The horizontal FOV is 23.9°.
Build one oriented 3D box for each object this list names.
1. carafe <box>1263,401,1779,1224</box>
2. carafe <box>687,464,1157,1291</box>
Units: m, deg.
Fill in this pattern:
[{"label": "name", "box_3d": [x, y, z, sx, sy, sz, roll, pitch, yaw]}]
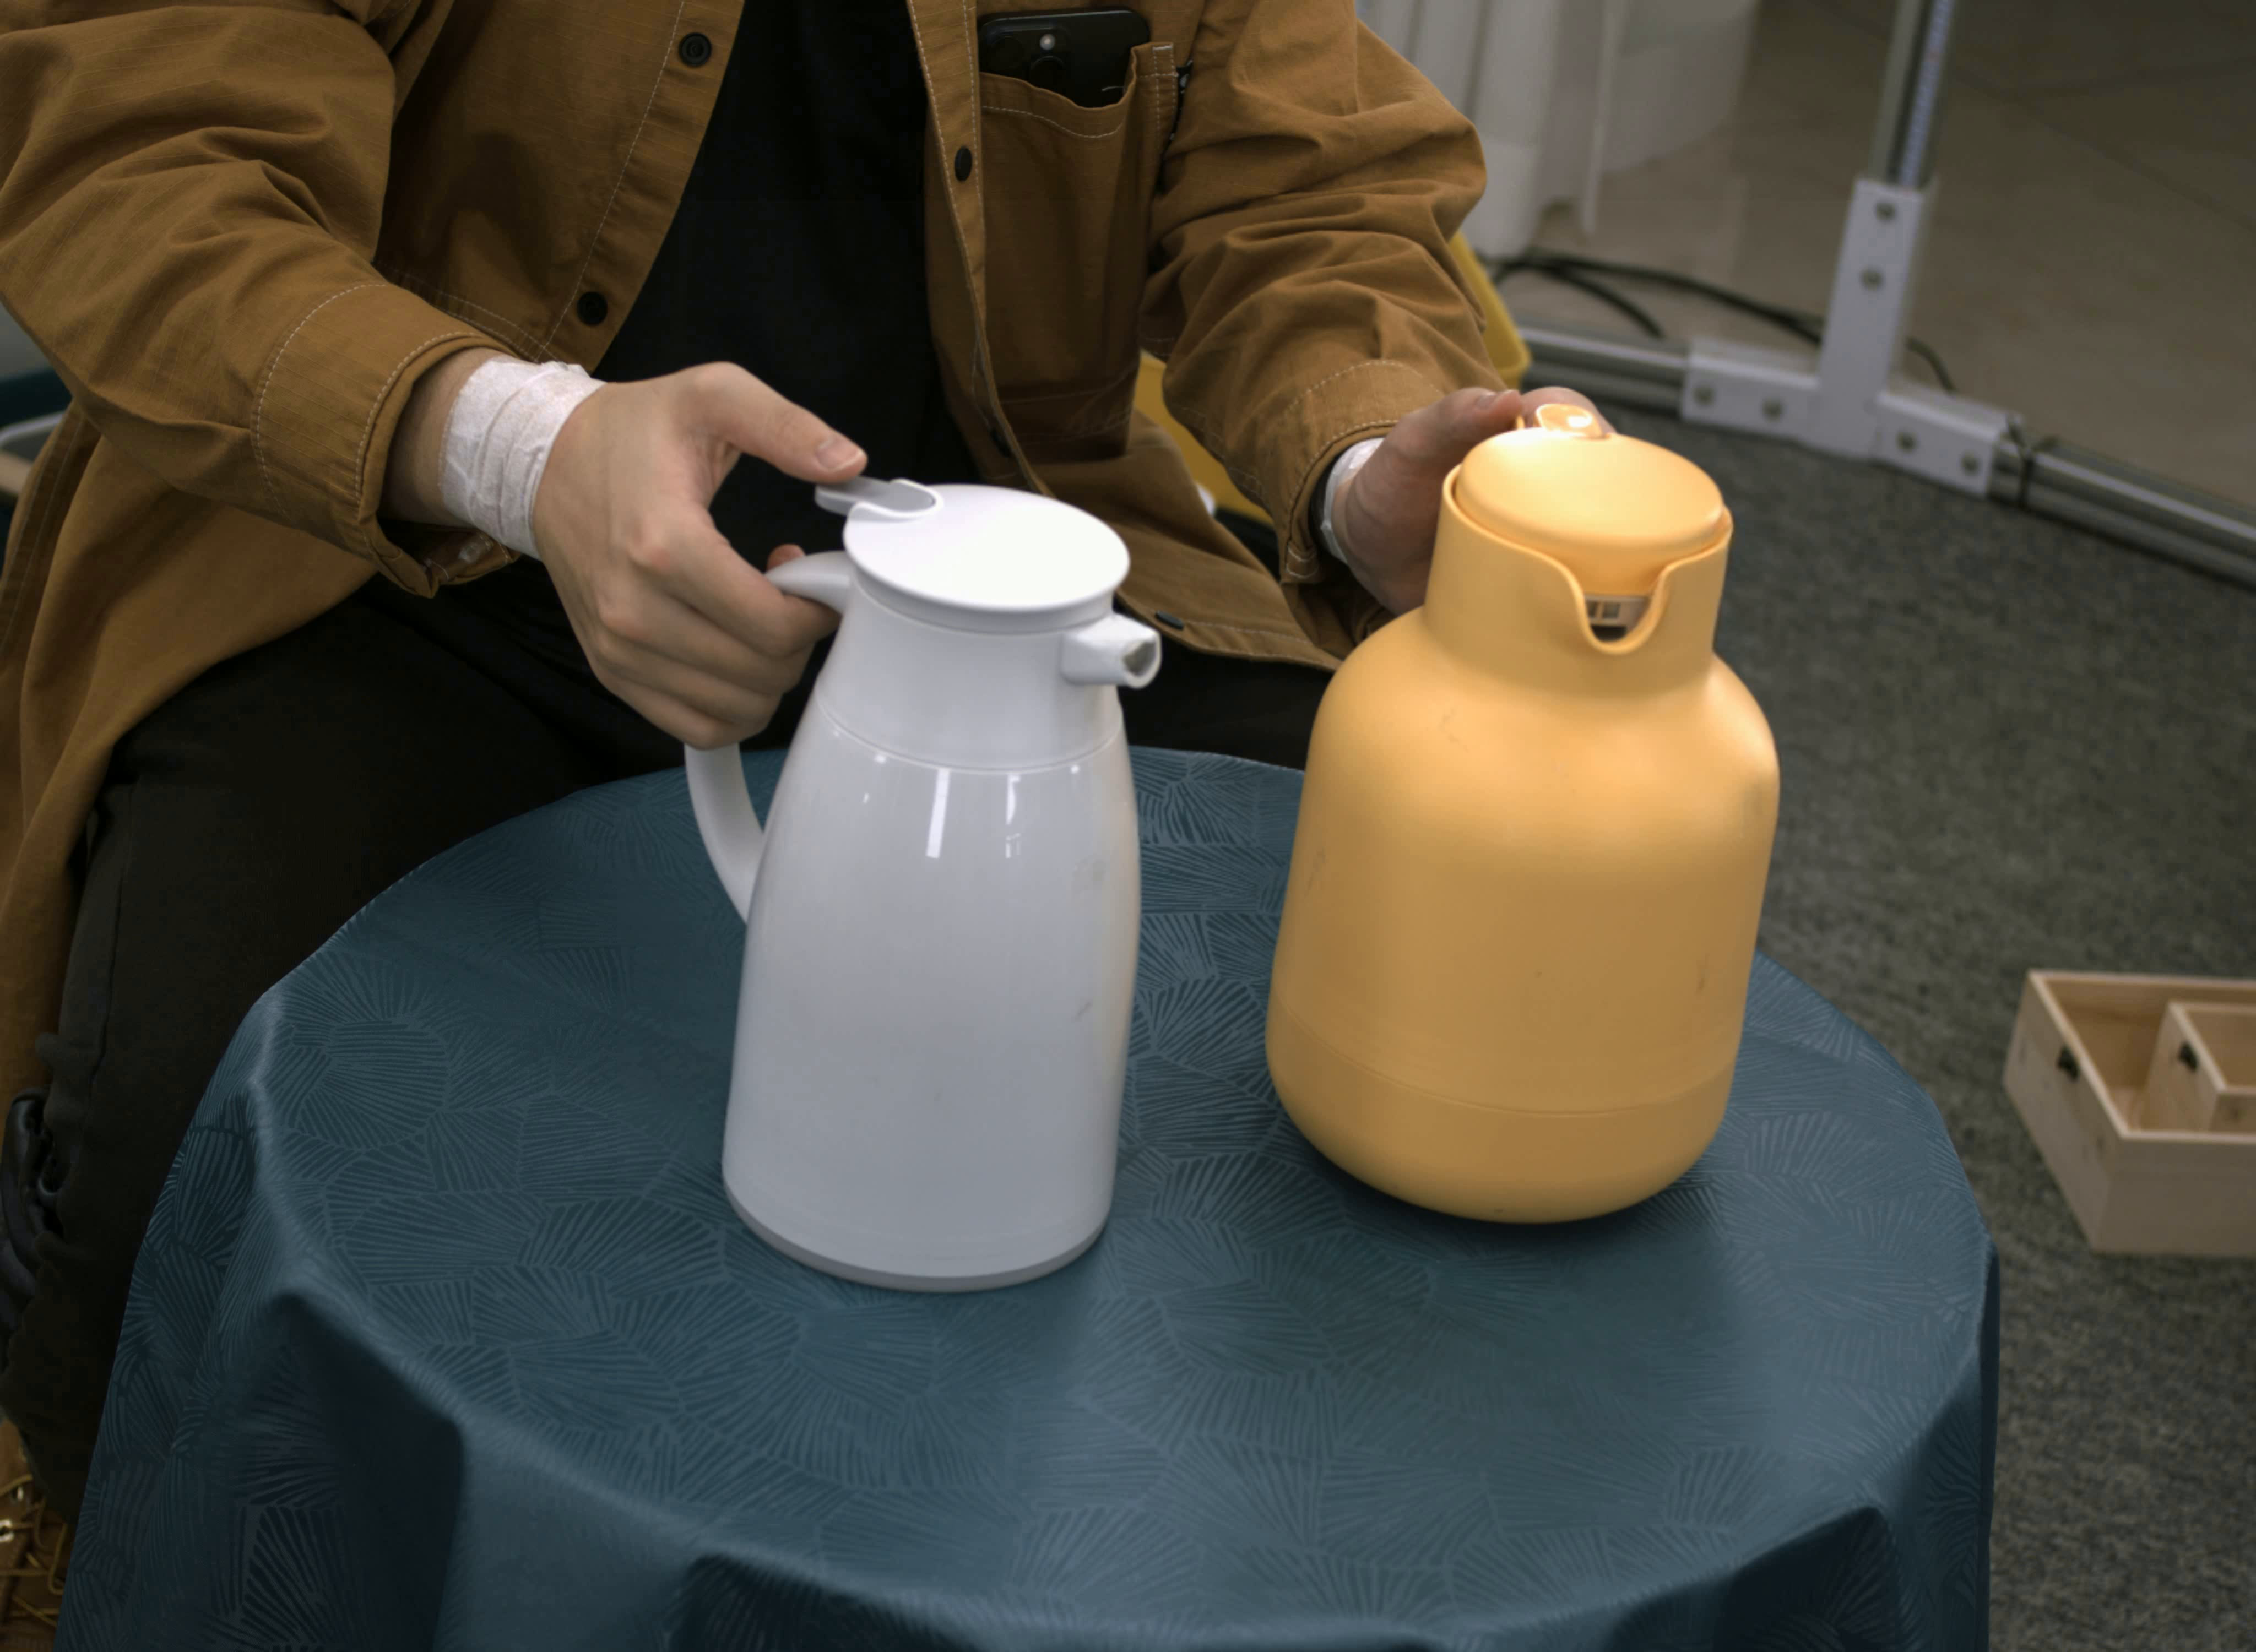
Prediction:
[{"label": "carafe", "box_3d": [0.139, -0.014, 1.822, 0.163, 0.259, 0.204, 6, 28, -5]}, {"label": "carafe", "box_3d": [-0.075, 0.007, 1.745, 0.168, 0.248, 0.132, 20, 28, 27]}]
